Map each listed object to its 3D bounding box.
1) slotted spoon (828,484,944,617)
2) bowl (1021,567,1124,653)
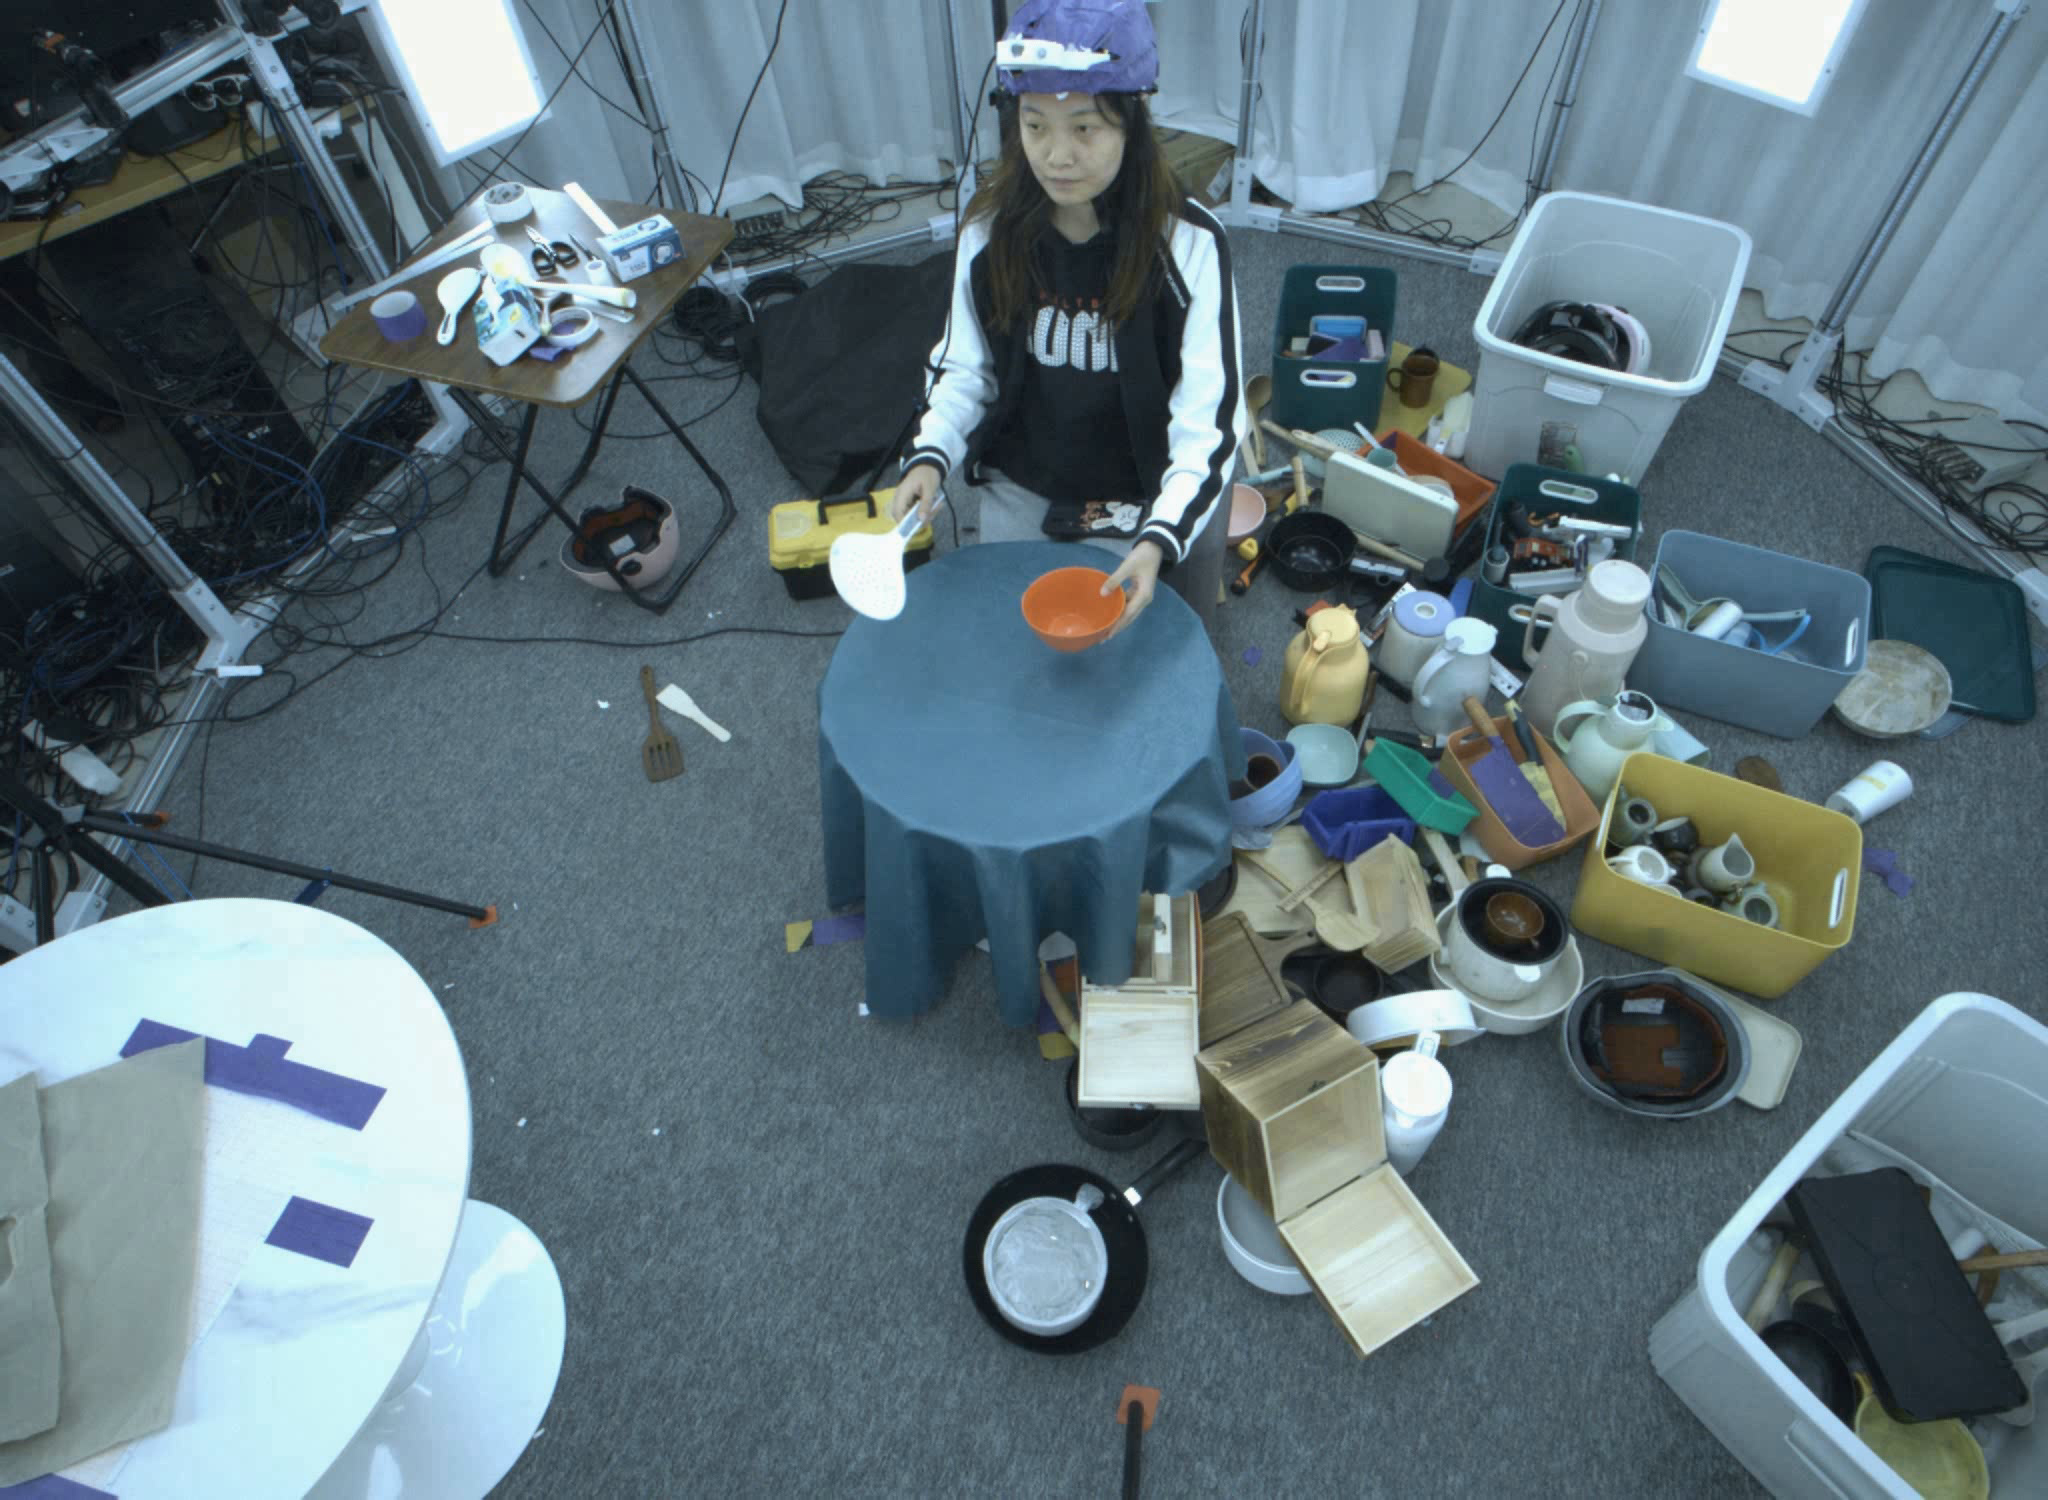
[{"bbox_3d":[-0.196,-0.313,1.816,0.138,0.045,0.350,49,43,-19],"label":"slotted spoon"},{"bbox_3d":[0.070,-0.190,1.790,0.148,0.106,0.146,-1,58,2],"label":"bowl"}]
